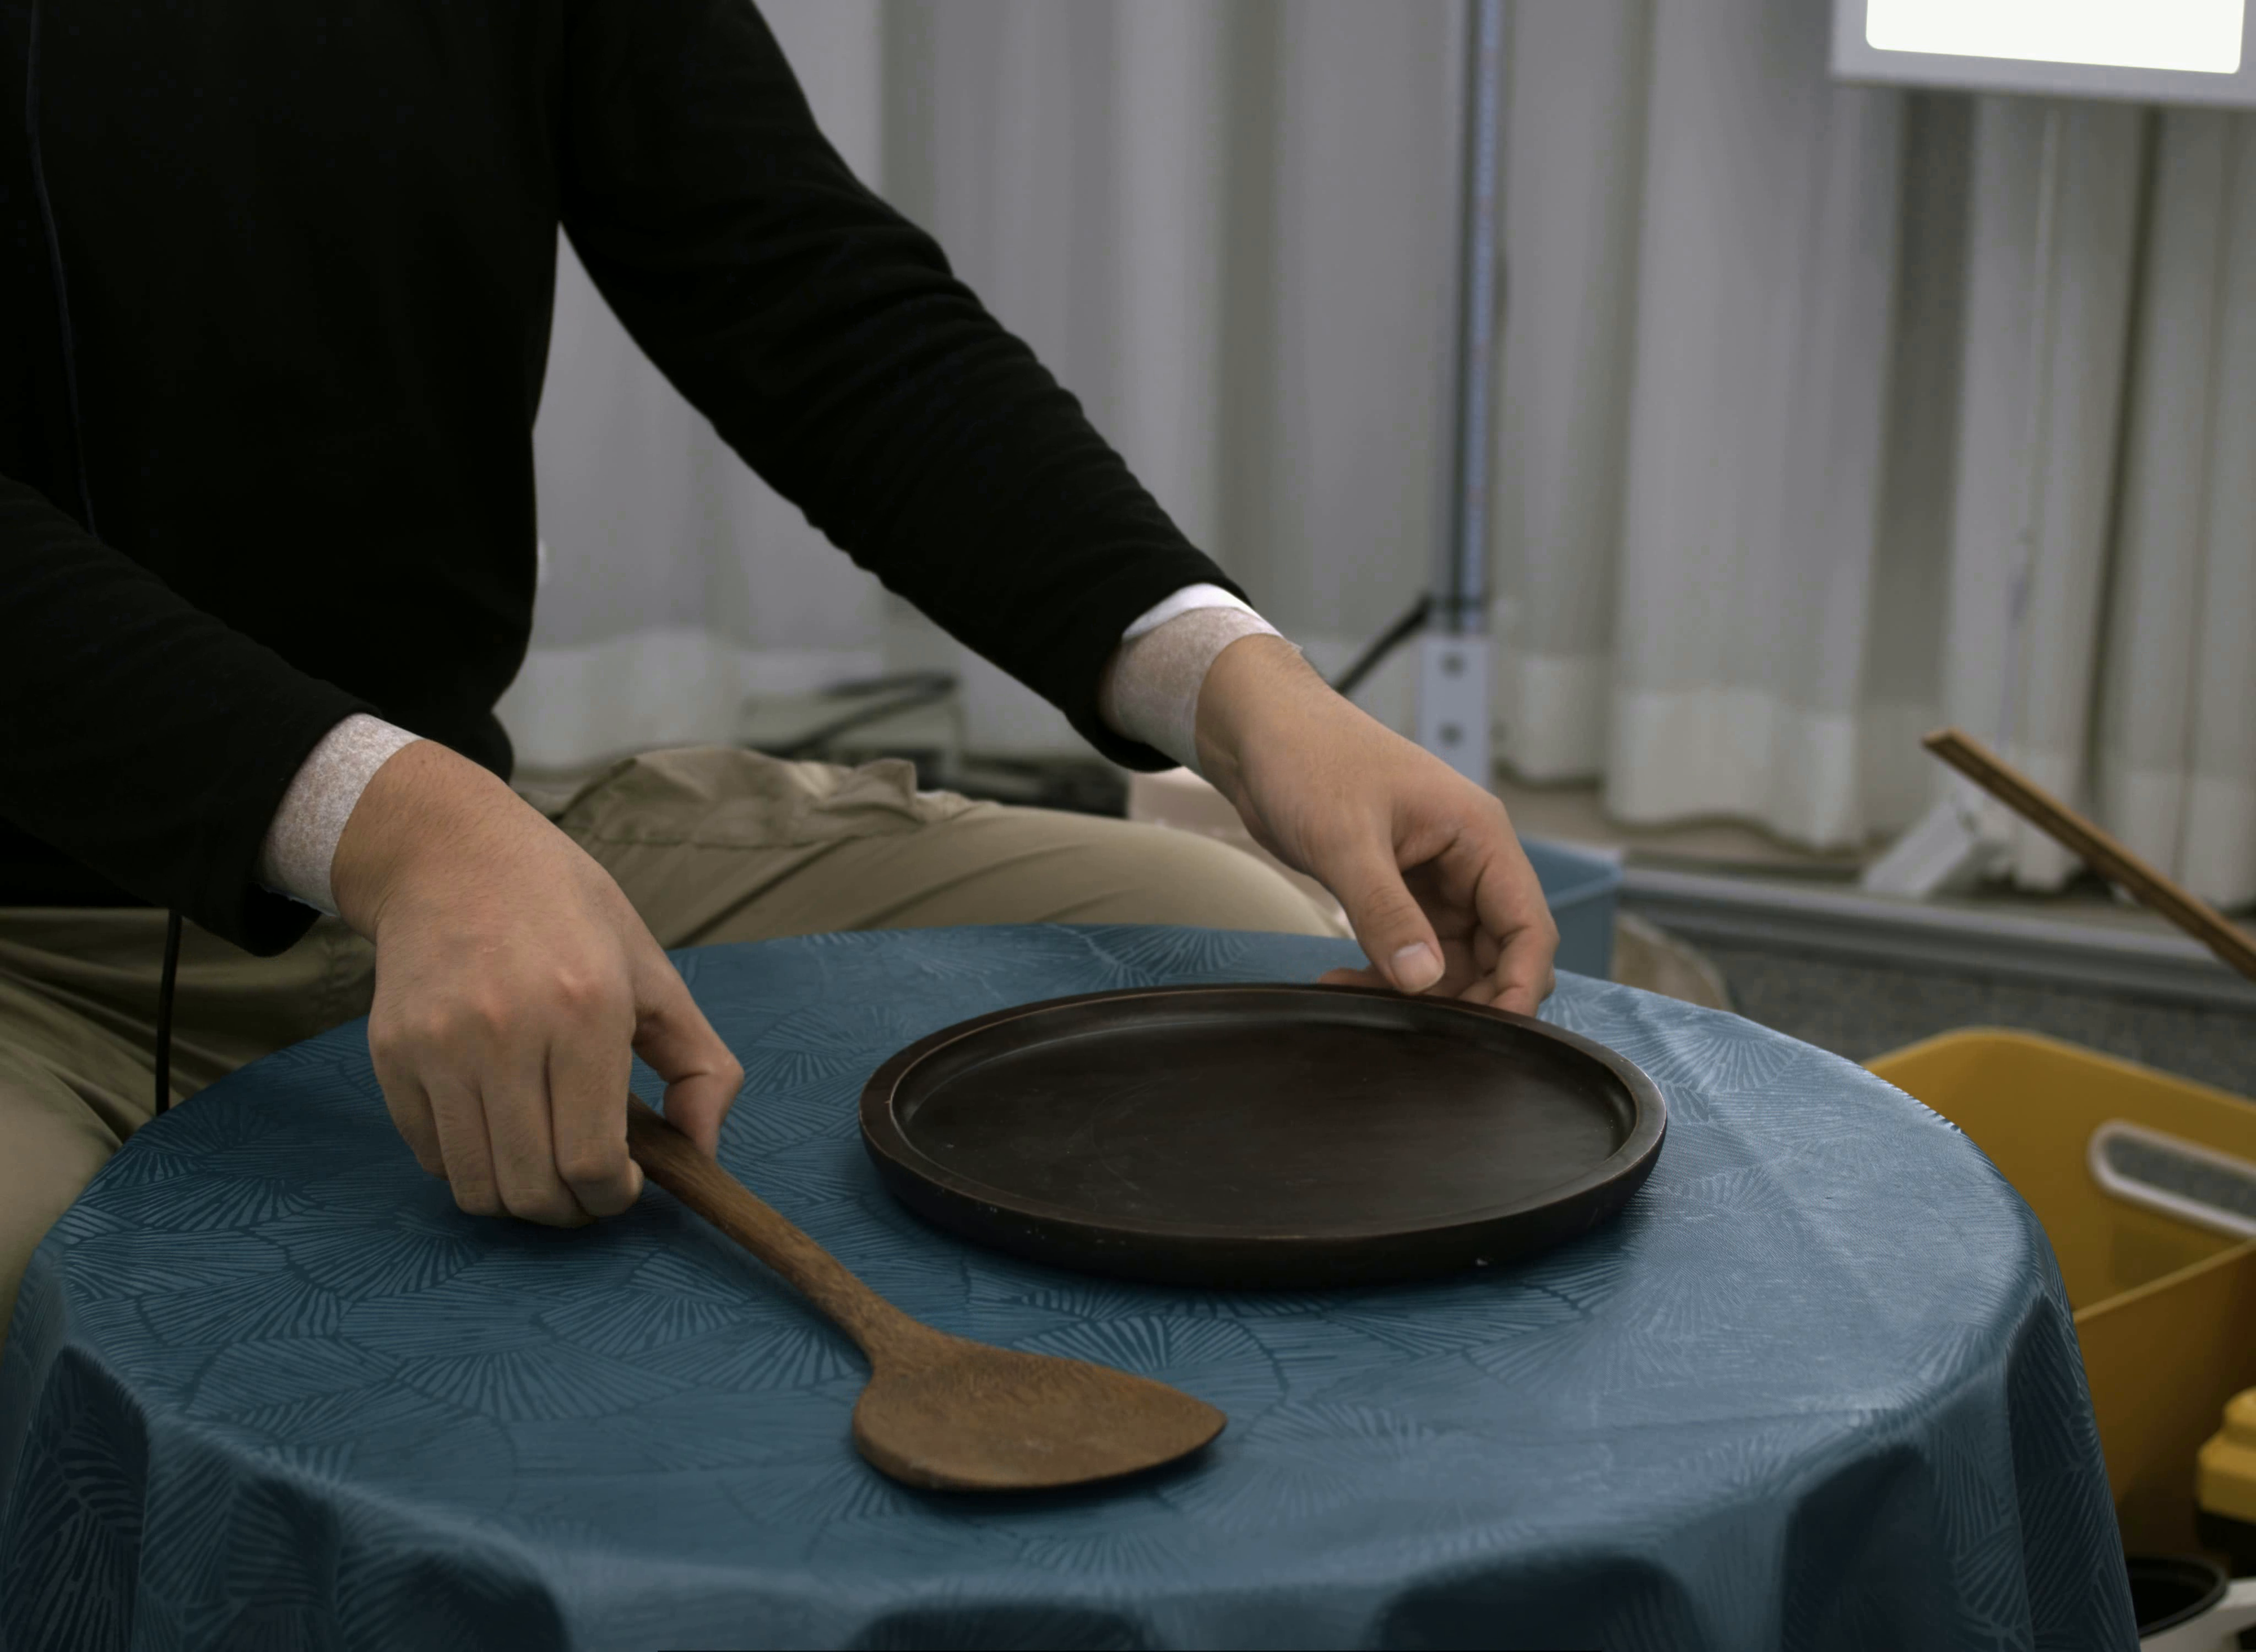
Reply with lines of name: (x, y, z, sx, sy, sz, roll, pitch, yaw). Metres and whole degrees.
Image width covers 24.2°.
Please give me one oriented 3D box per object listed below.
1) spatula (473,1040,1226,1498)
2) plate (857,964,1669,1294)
spatula: (-0.104, 0.121, 1.536, 0.096, 0.016, 0.381, -8, 21, -31)
plate: (0.042, 0.095, 1.640, 0.254, 0.029, 0.253, -1, 16, 1)
